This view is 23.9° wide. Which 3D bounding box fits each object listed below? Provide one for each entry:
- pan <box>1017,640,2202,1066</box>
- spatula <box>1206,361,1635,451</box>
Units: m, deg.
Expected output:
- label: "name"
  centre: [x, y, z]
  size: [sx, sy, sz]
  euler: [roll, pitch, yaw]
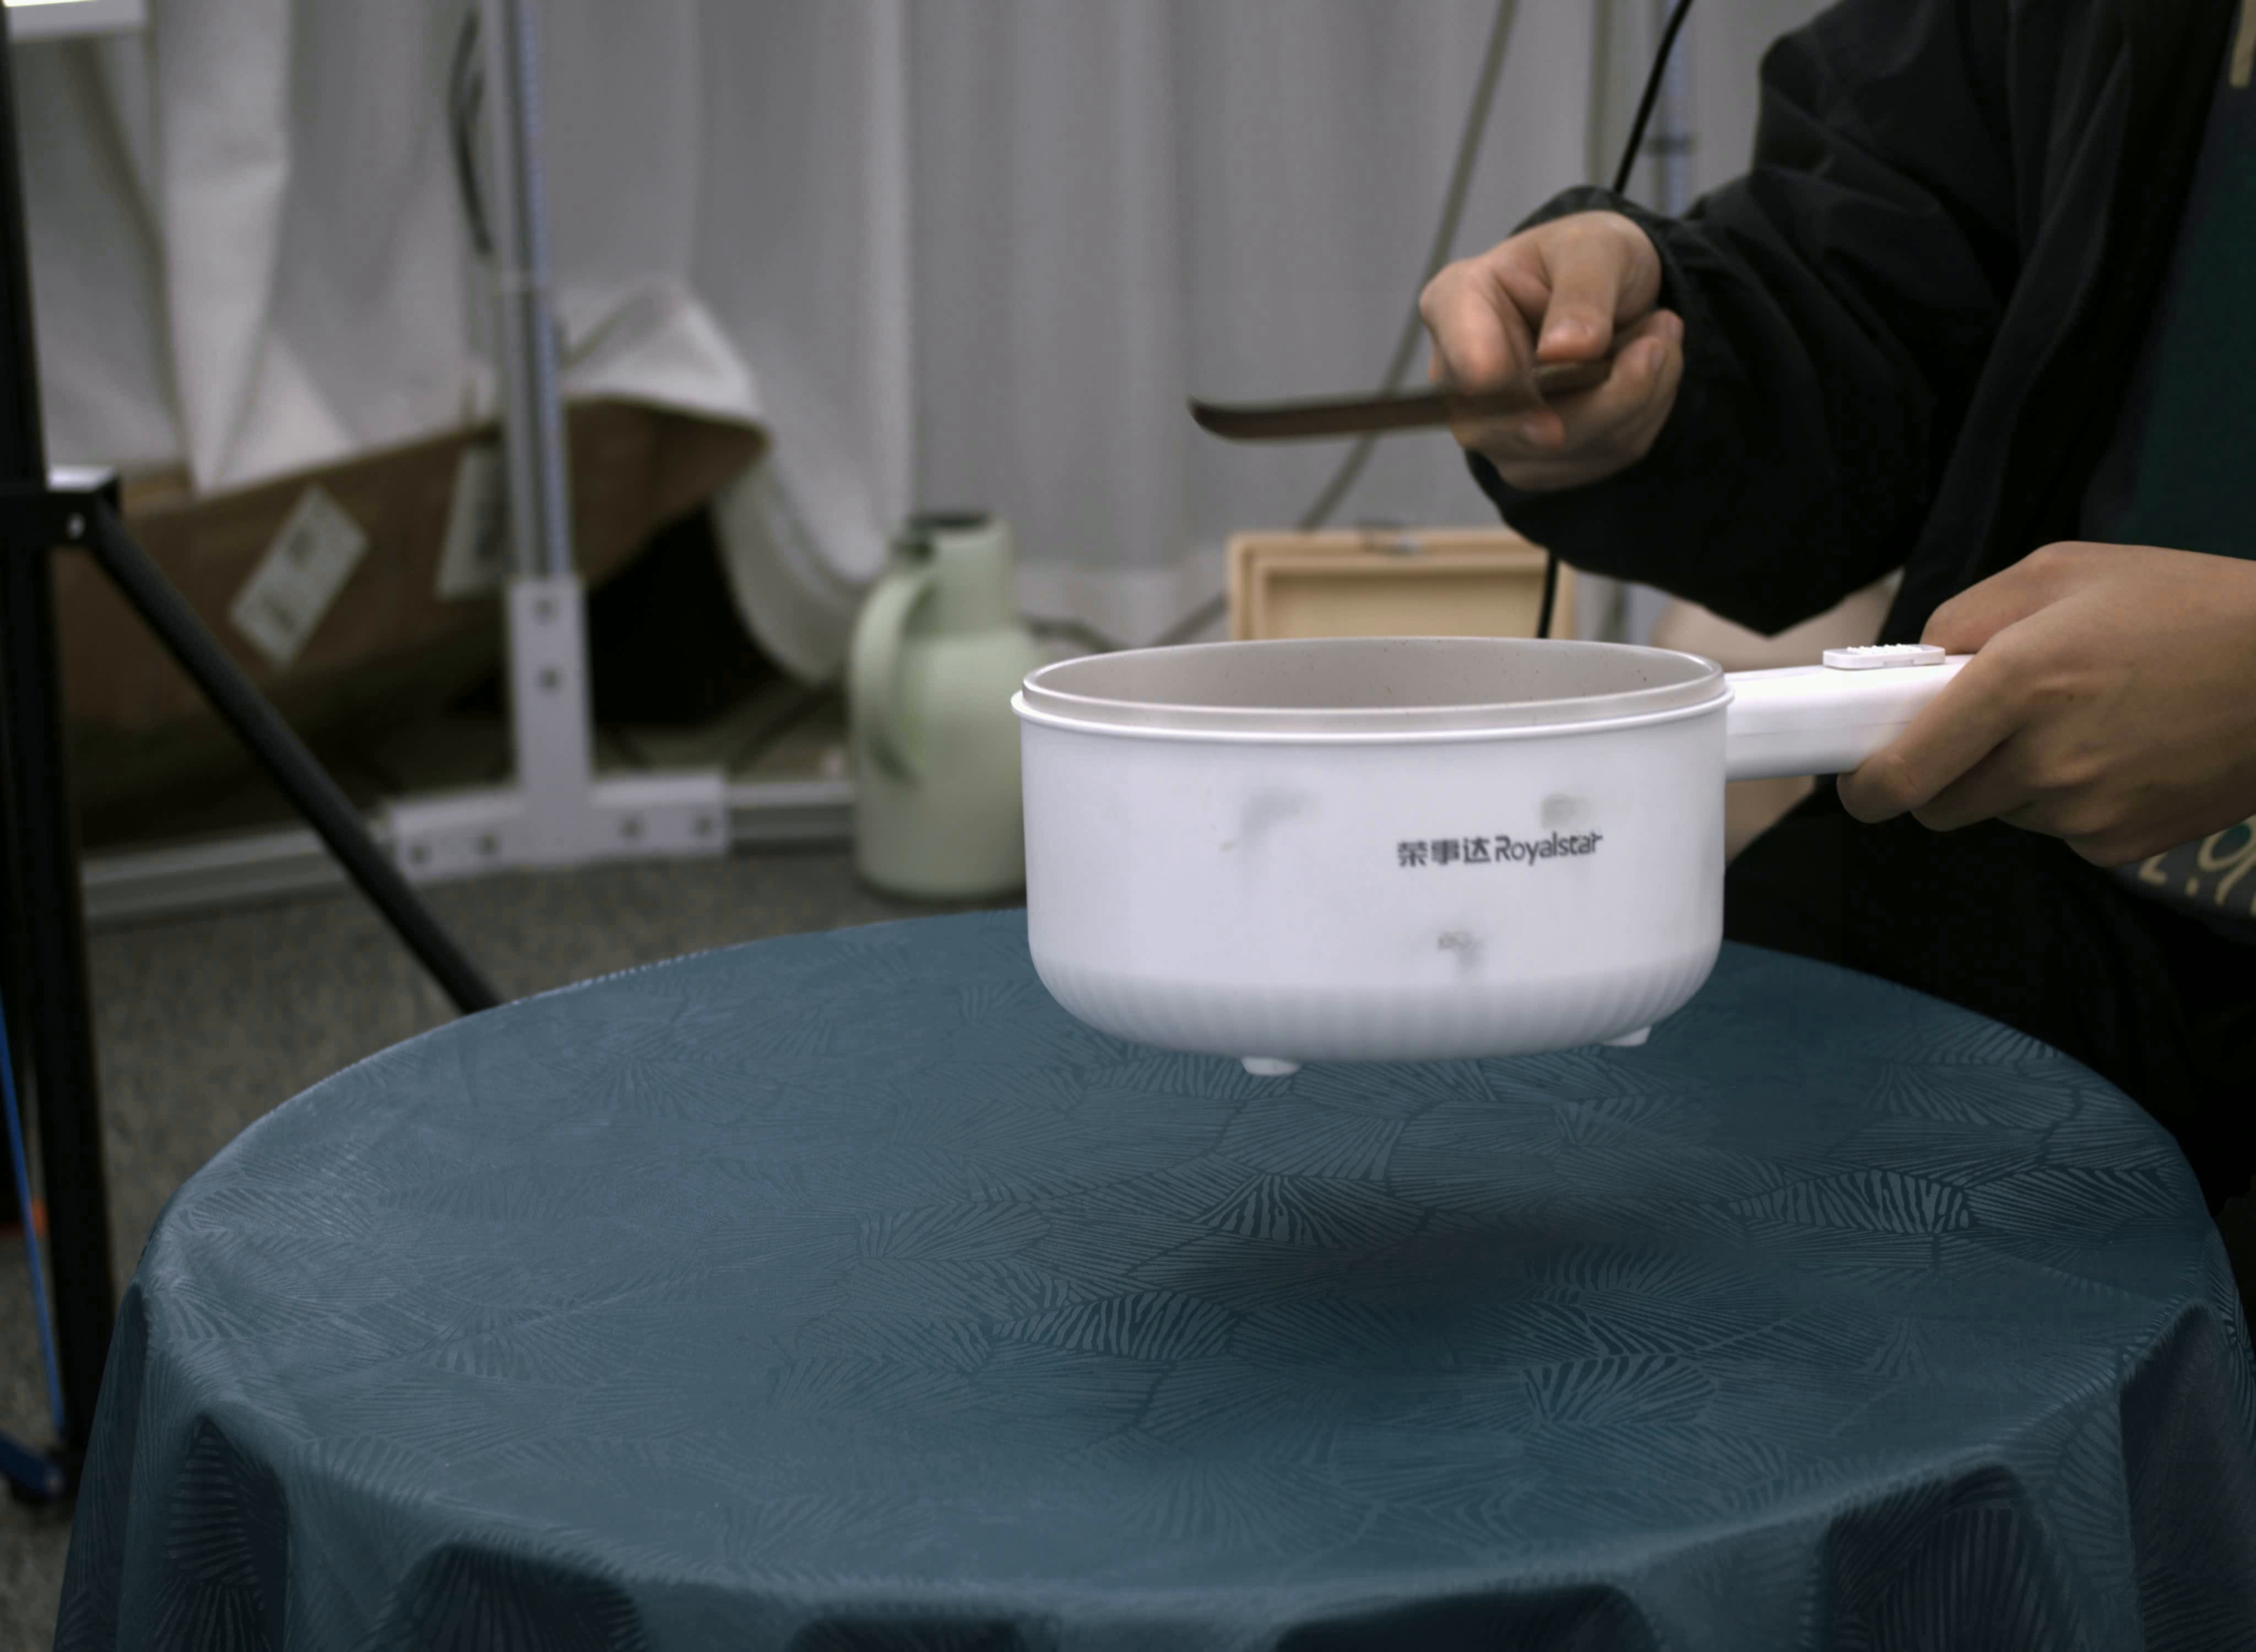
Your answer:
- label: "pan"
  centre: [0.141, 0.004, 1.501]
  size: [0.348, 0.102, 0.204]
  euler: [-2, 6, -18]
- label: "spatula"
  centre: [0.111, -0.129, 1.622]
  size: [0.097, 0.016, 0.381]
  euler: [-4, 6, 16]
